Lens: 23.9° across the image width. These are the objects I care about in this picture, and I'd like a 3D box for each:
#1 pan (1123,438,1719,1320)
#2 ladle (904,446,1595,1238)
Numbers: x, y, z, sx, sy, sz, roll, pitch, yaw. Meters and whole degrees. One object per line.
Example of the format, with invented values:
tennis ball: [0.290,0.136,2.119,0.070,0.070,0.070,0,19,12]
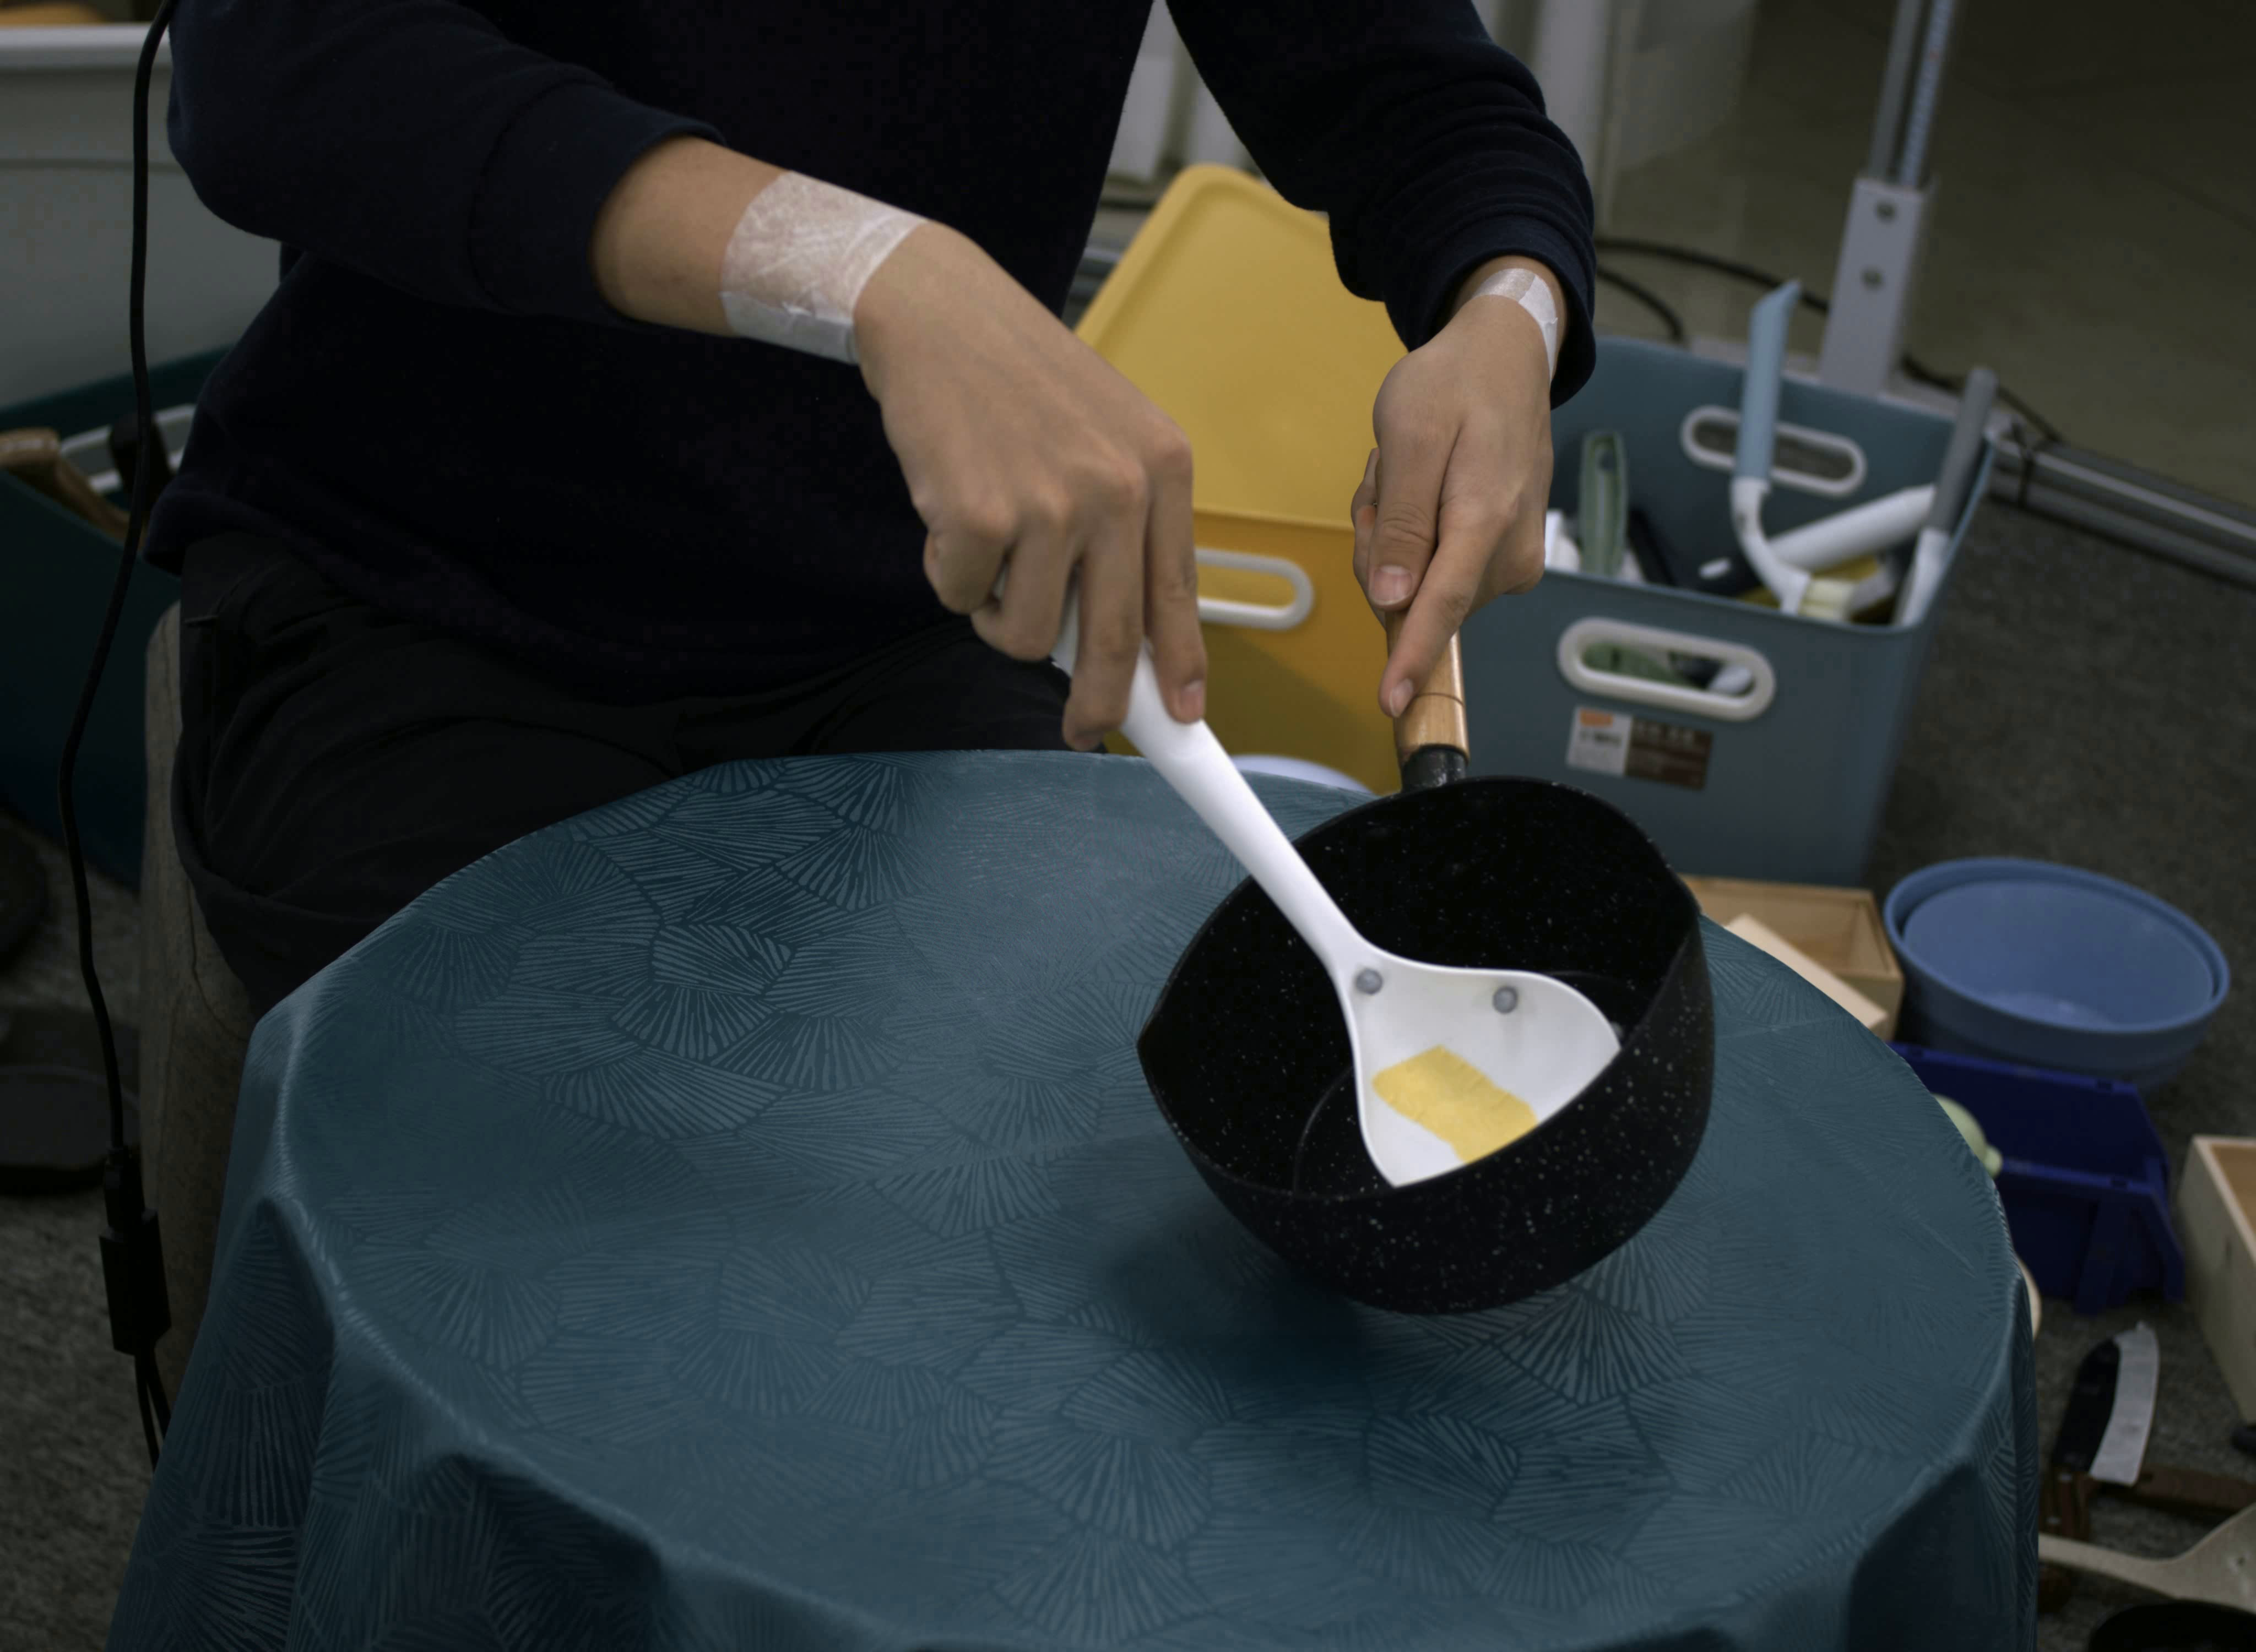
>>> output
pan: [0.106,0.016,1.805,0.207,0.107,0.345,-17,41,18]
ladle: [0.034,0.002,1.676,0.090,0.292,0.070,-40,12,-5]
